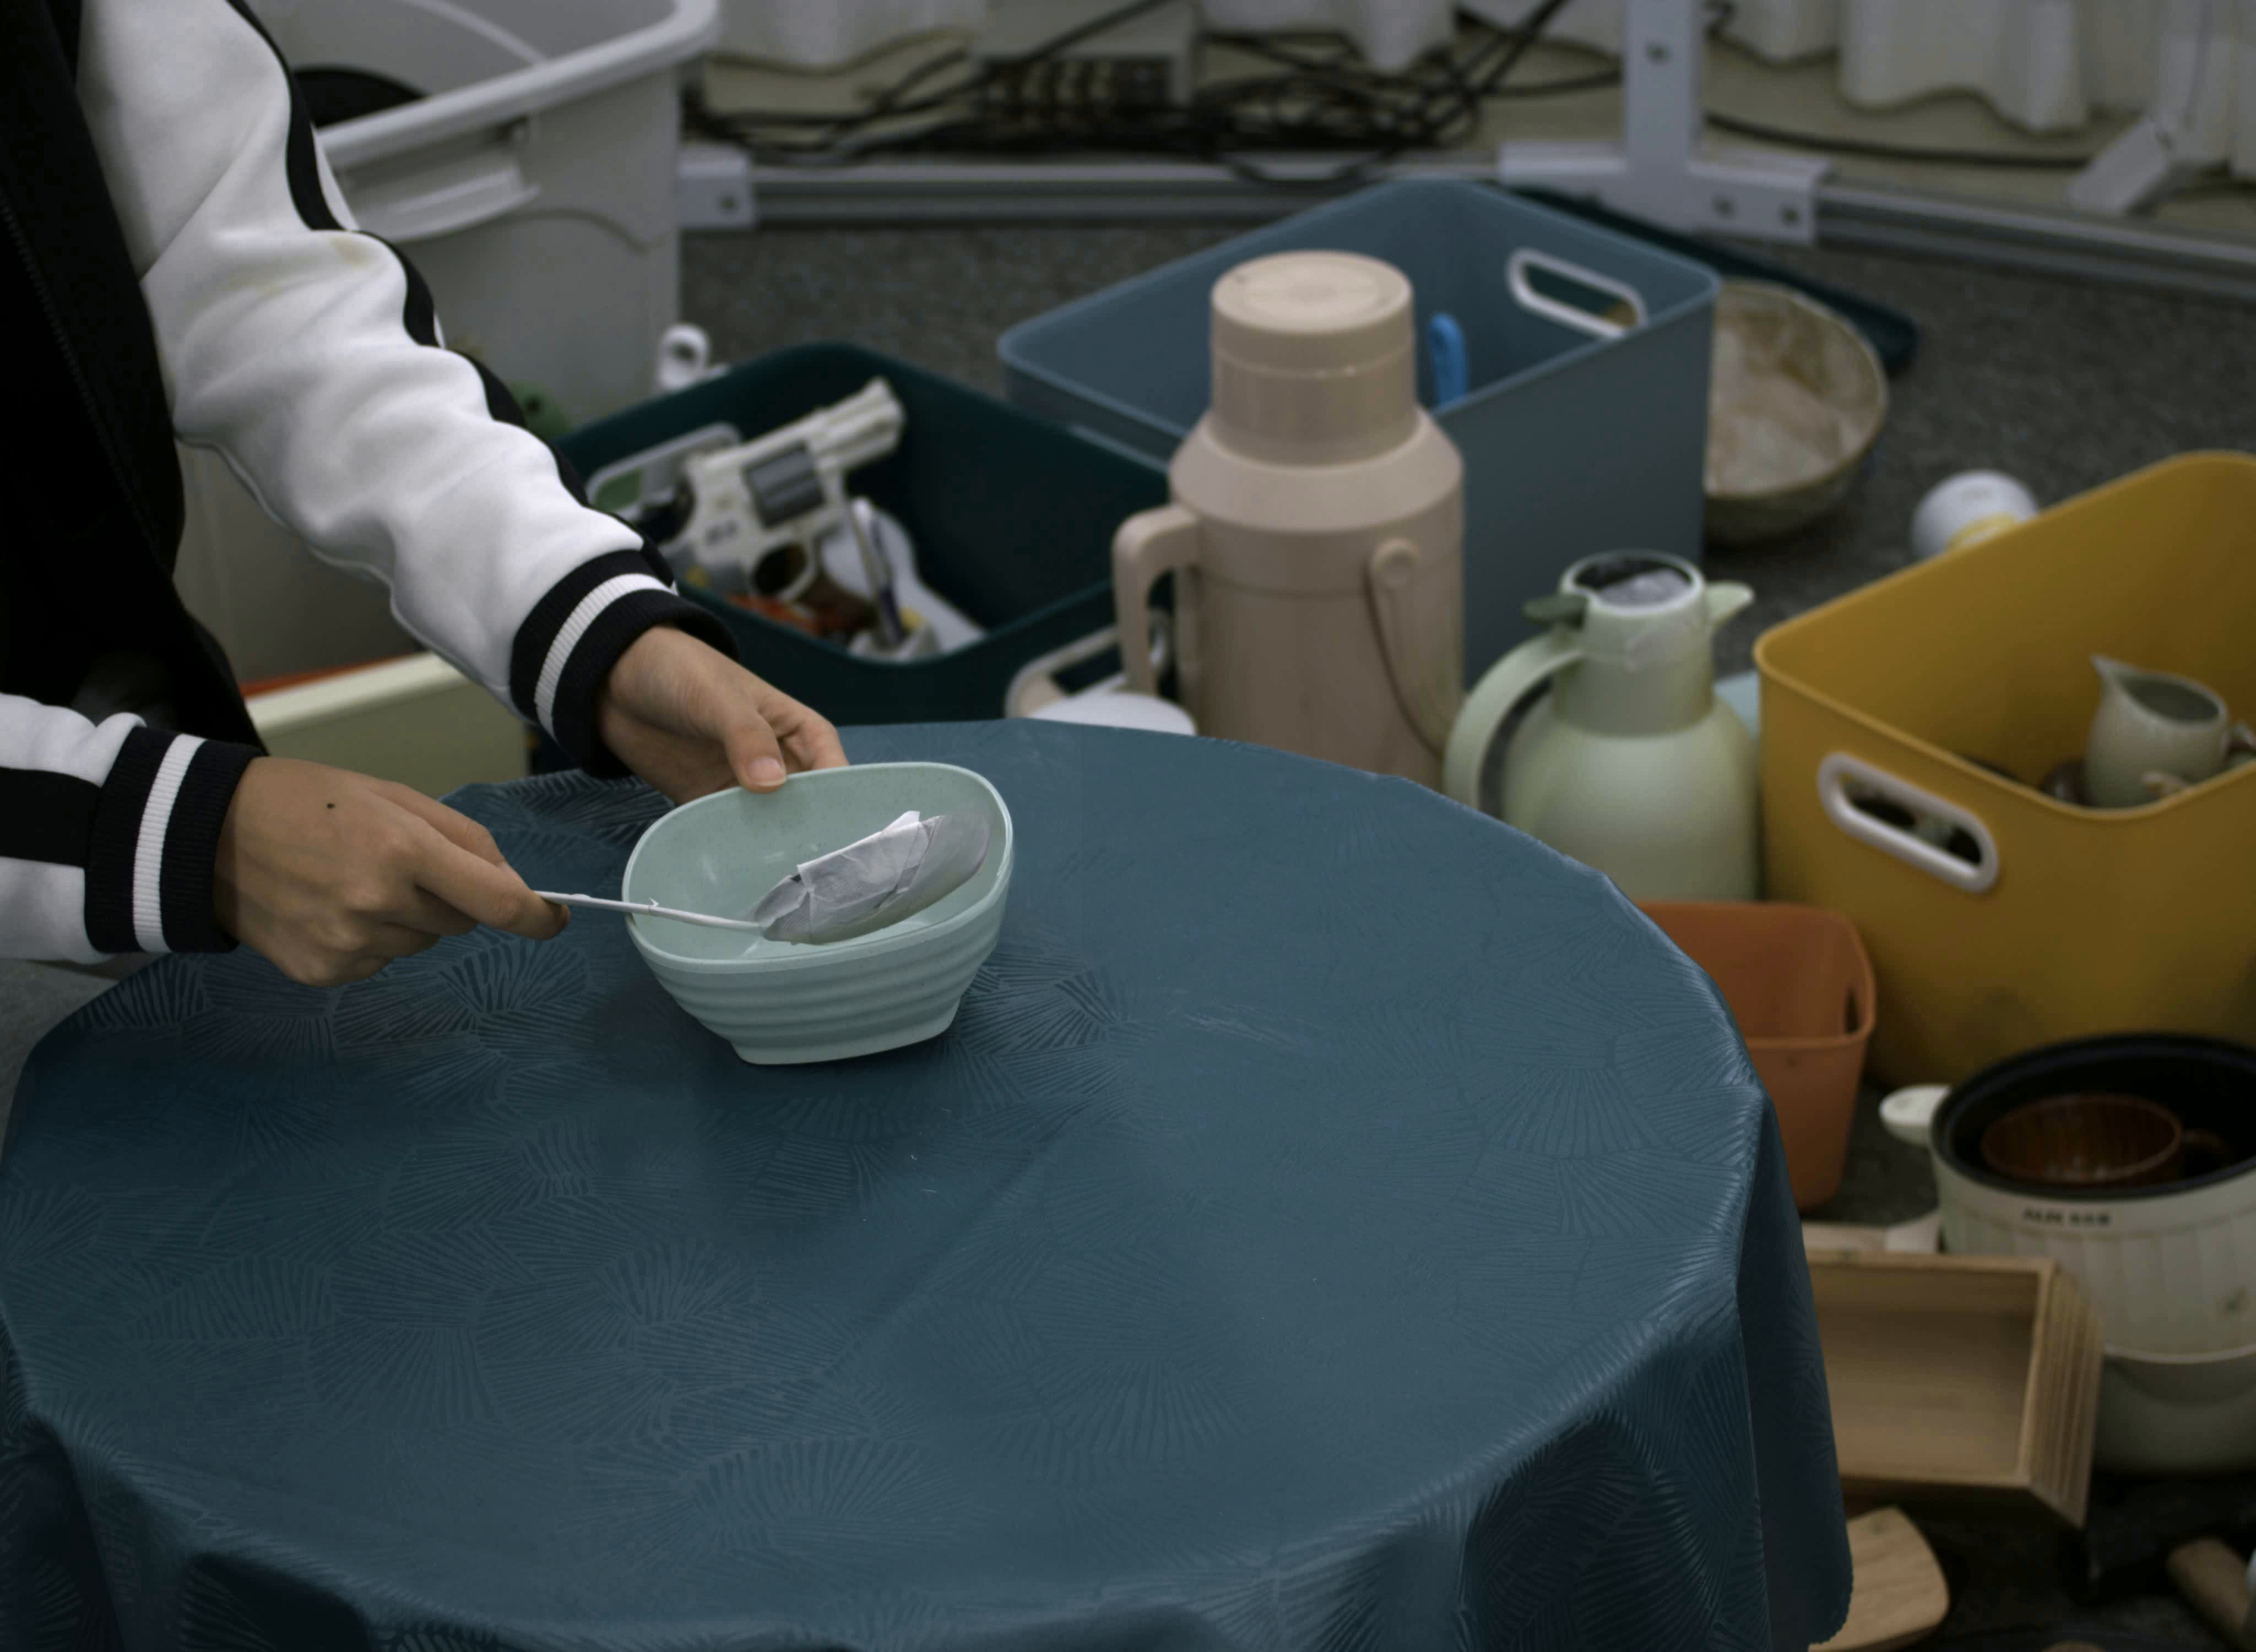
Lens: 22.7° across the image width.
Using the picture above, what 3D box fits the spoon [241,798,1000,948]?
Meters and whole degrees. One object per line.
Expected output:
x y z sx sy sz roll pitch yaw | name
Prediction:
-0.178 0.003 1.948 0.275 0.060 0.100 8 -9 20 | spoon

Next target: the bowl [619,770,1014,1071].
-0.105 0.039 1.967 0.150 0.058 0.154 -6 27 3 | bowl
